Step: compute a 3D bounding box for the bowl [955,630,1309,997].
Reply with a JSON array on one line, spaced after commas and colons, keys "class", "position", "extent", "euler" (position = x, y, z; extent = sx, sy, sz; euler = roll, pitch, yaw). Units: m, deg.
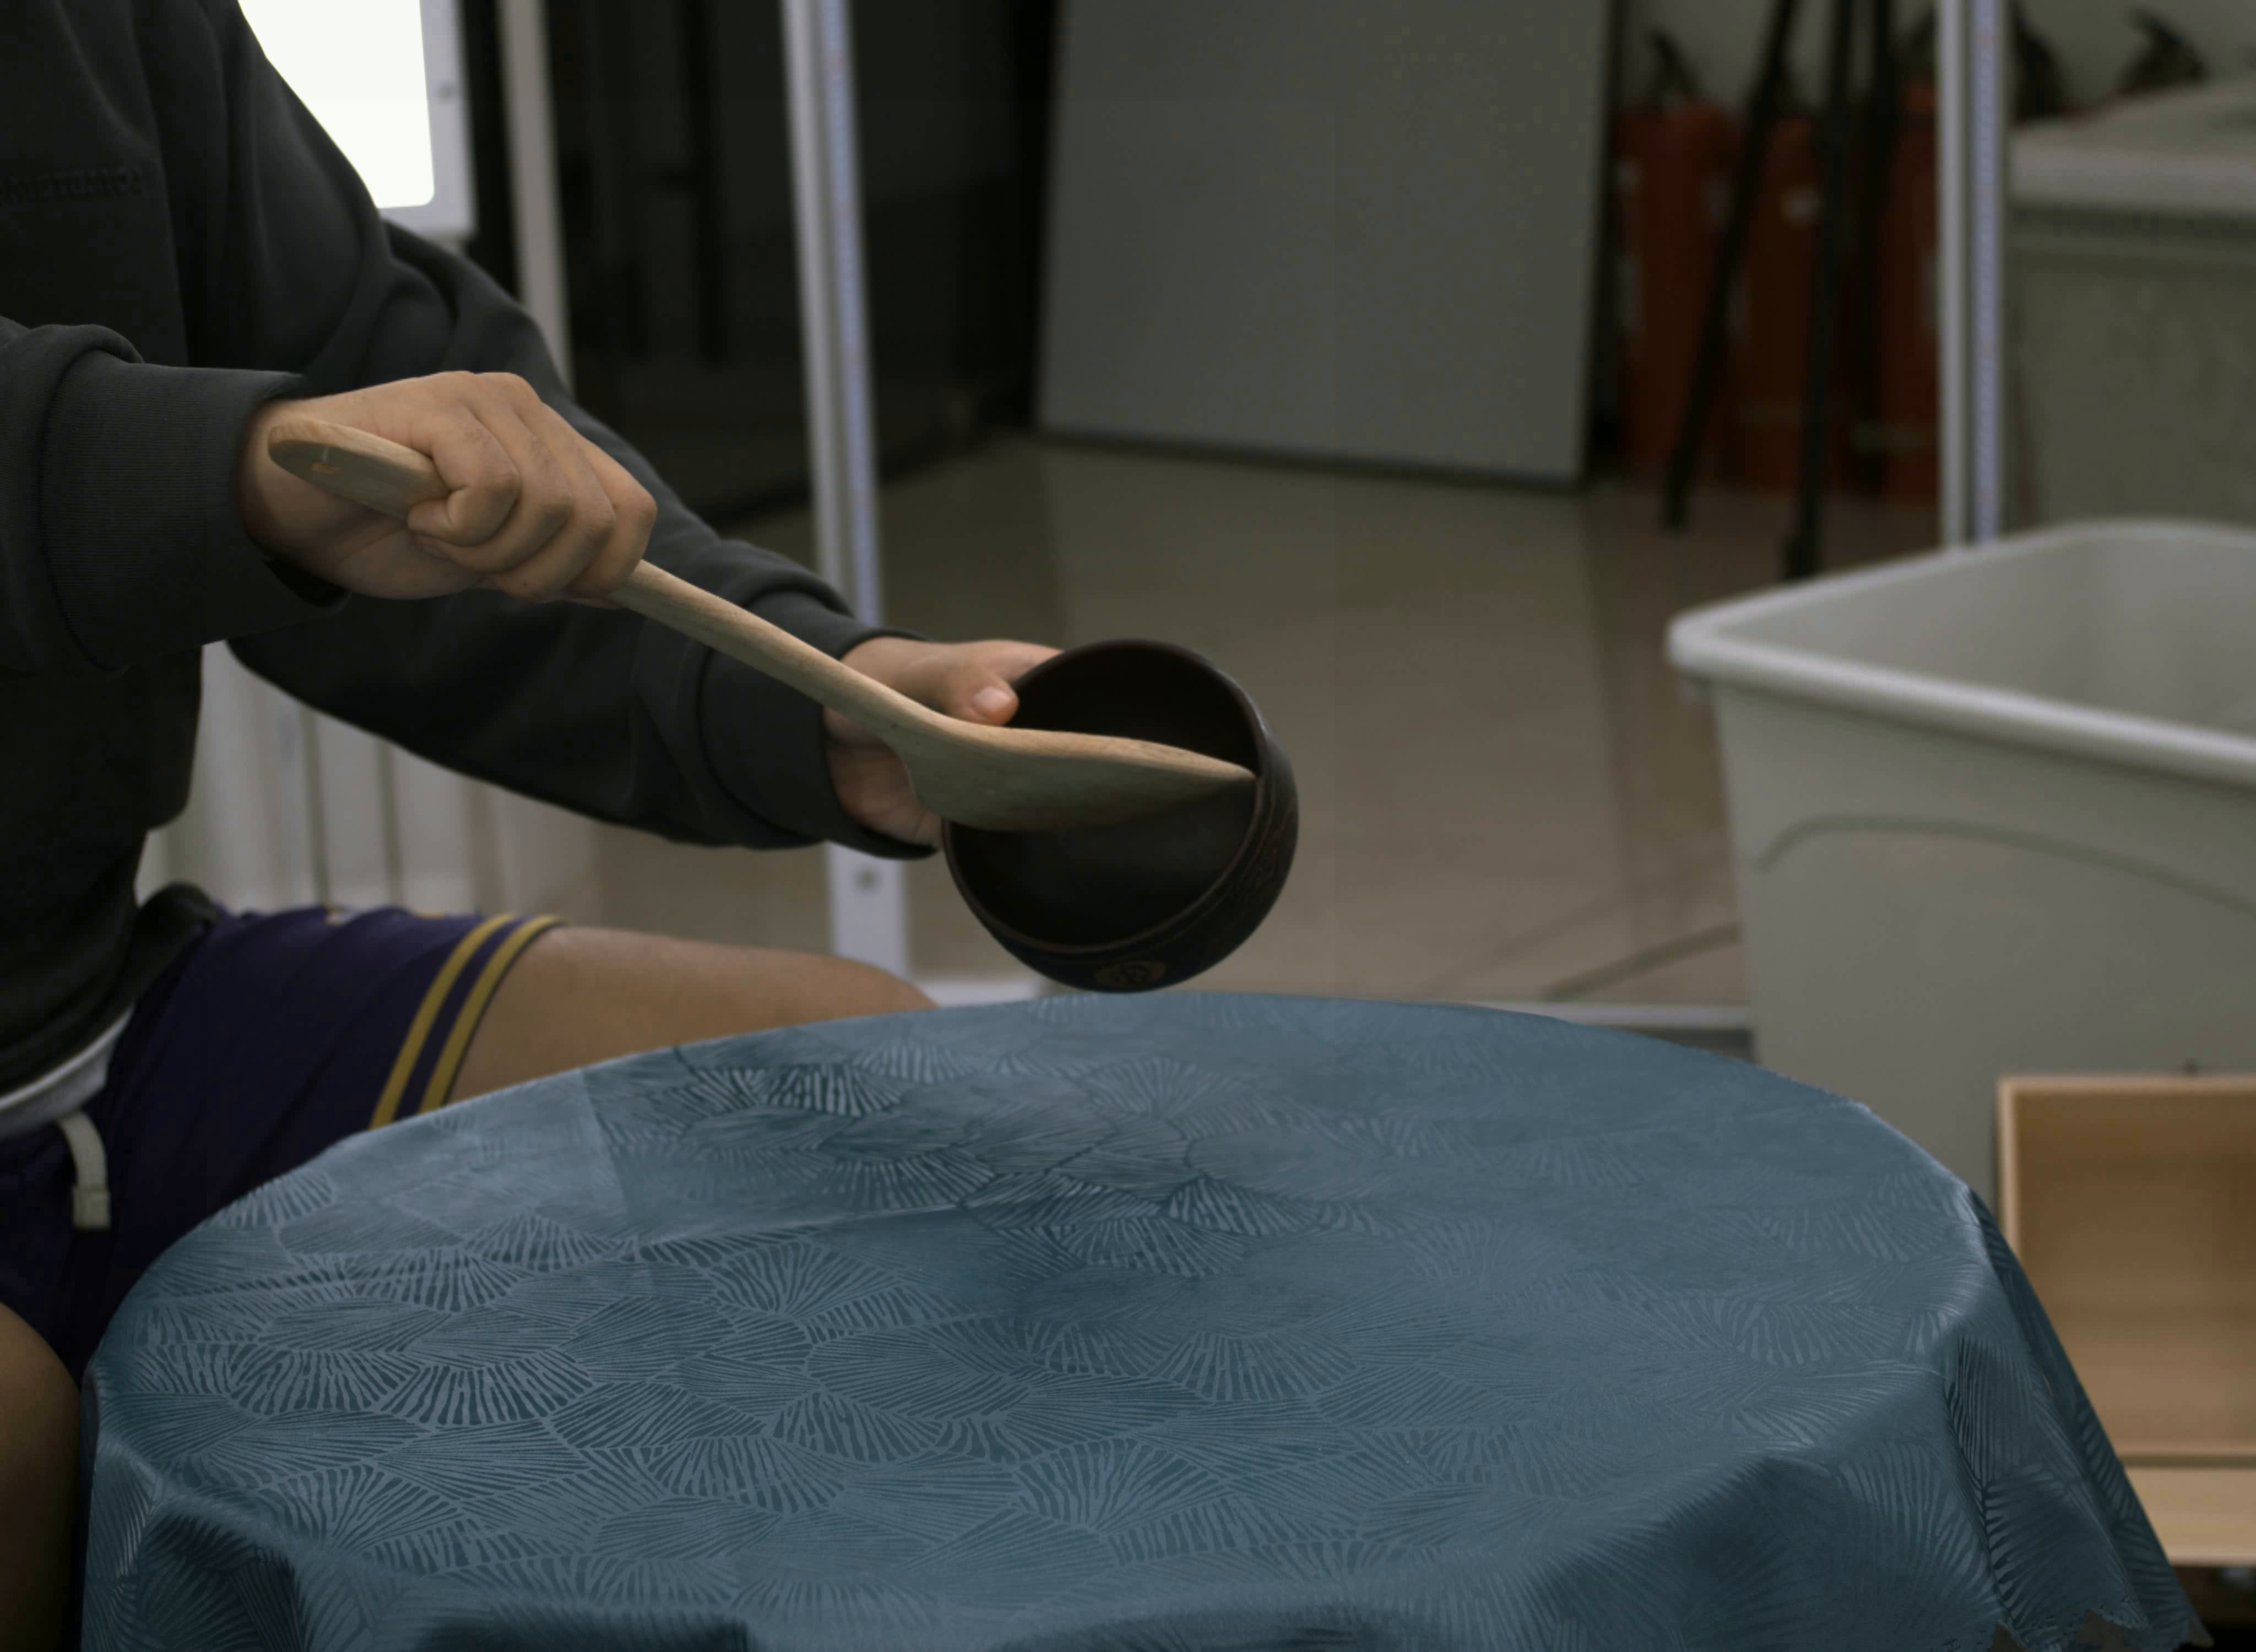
[{"class": "bowl", "position": [0.008, 0.002, 1.787], "extent": [0.119, 0.119, 0.069], "euler": [6, -20, 34]}]

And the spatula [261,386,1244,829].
[{"class": "spatula", "position": [-0.110, -0.062, 1.634], "extent": [0.096, 0.019, 0.383], "euler": [-16, -29, 37]}]
